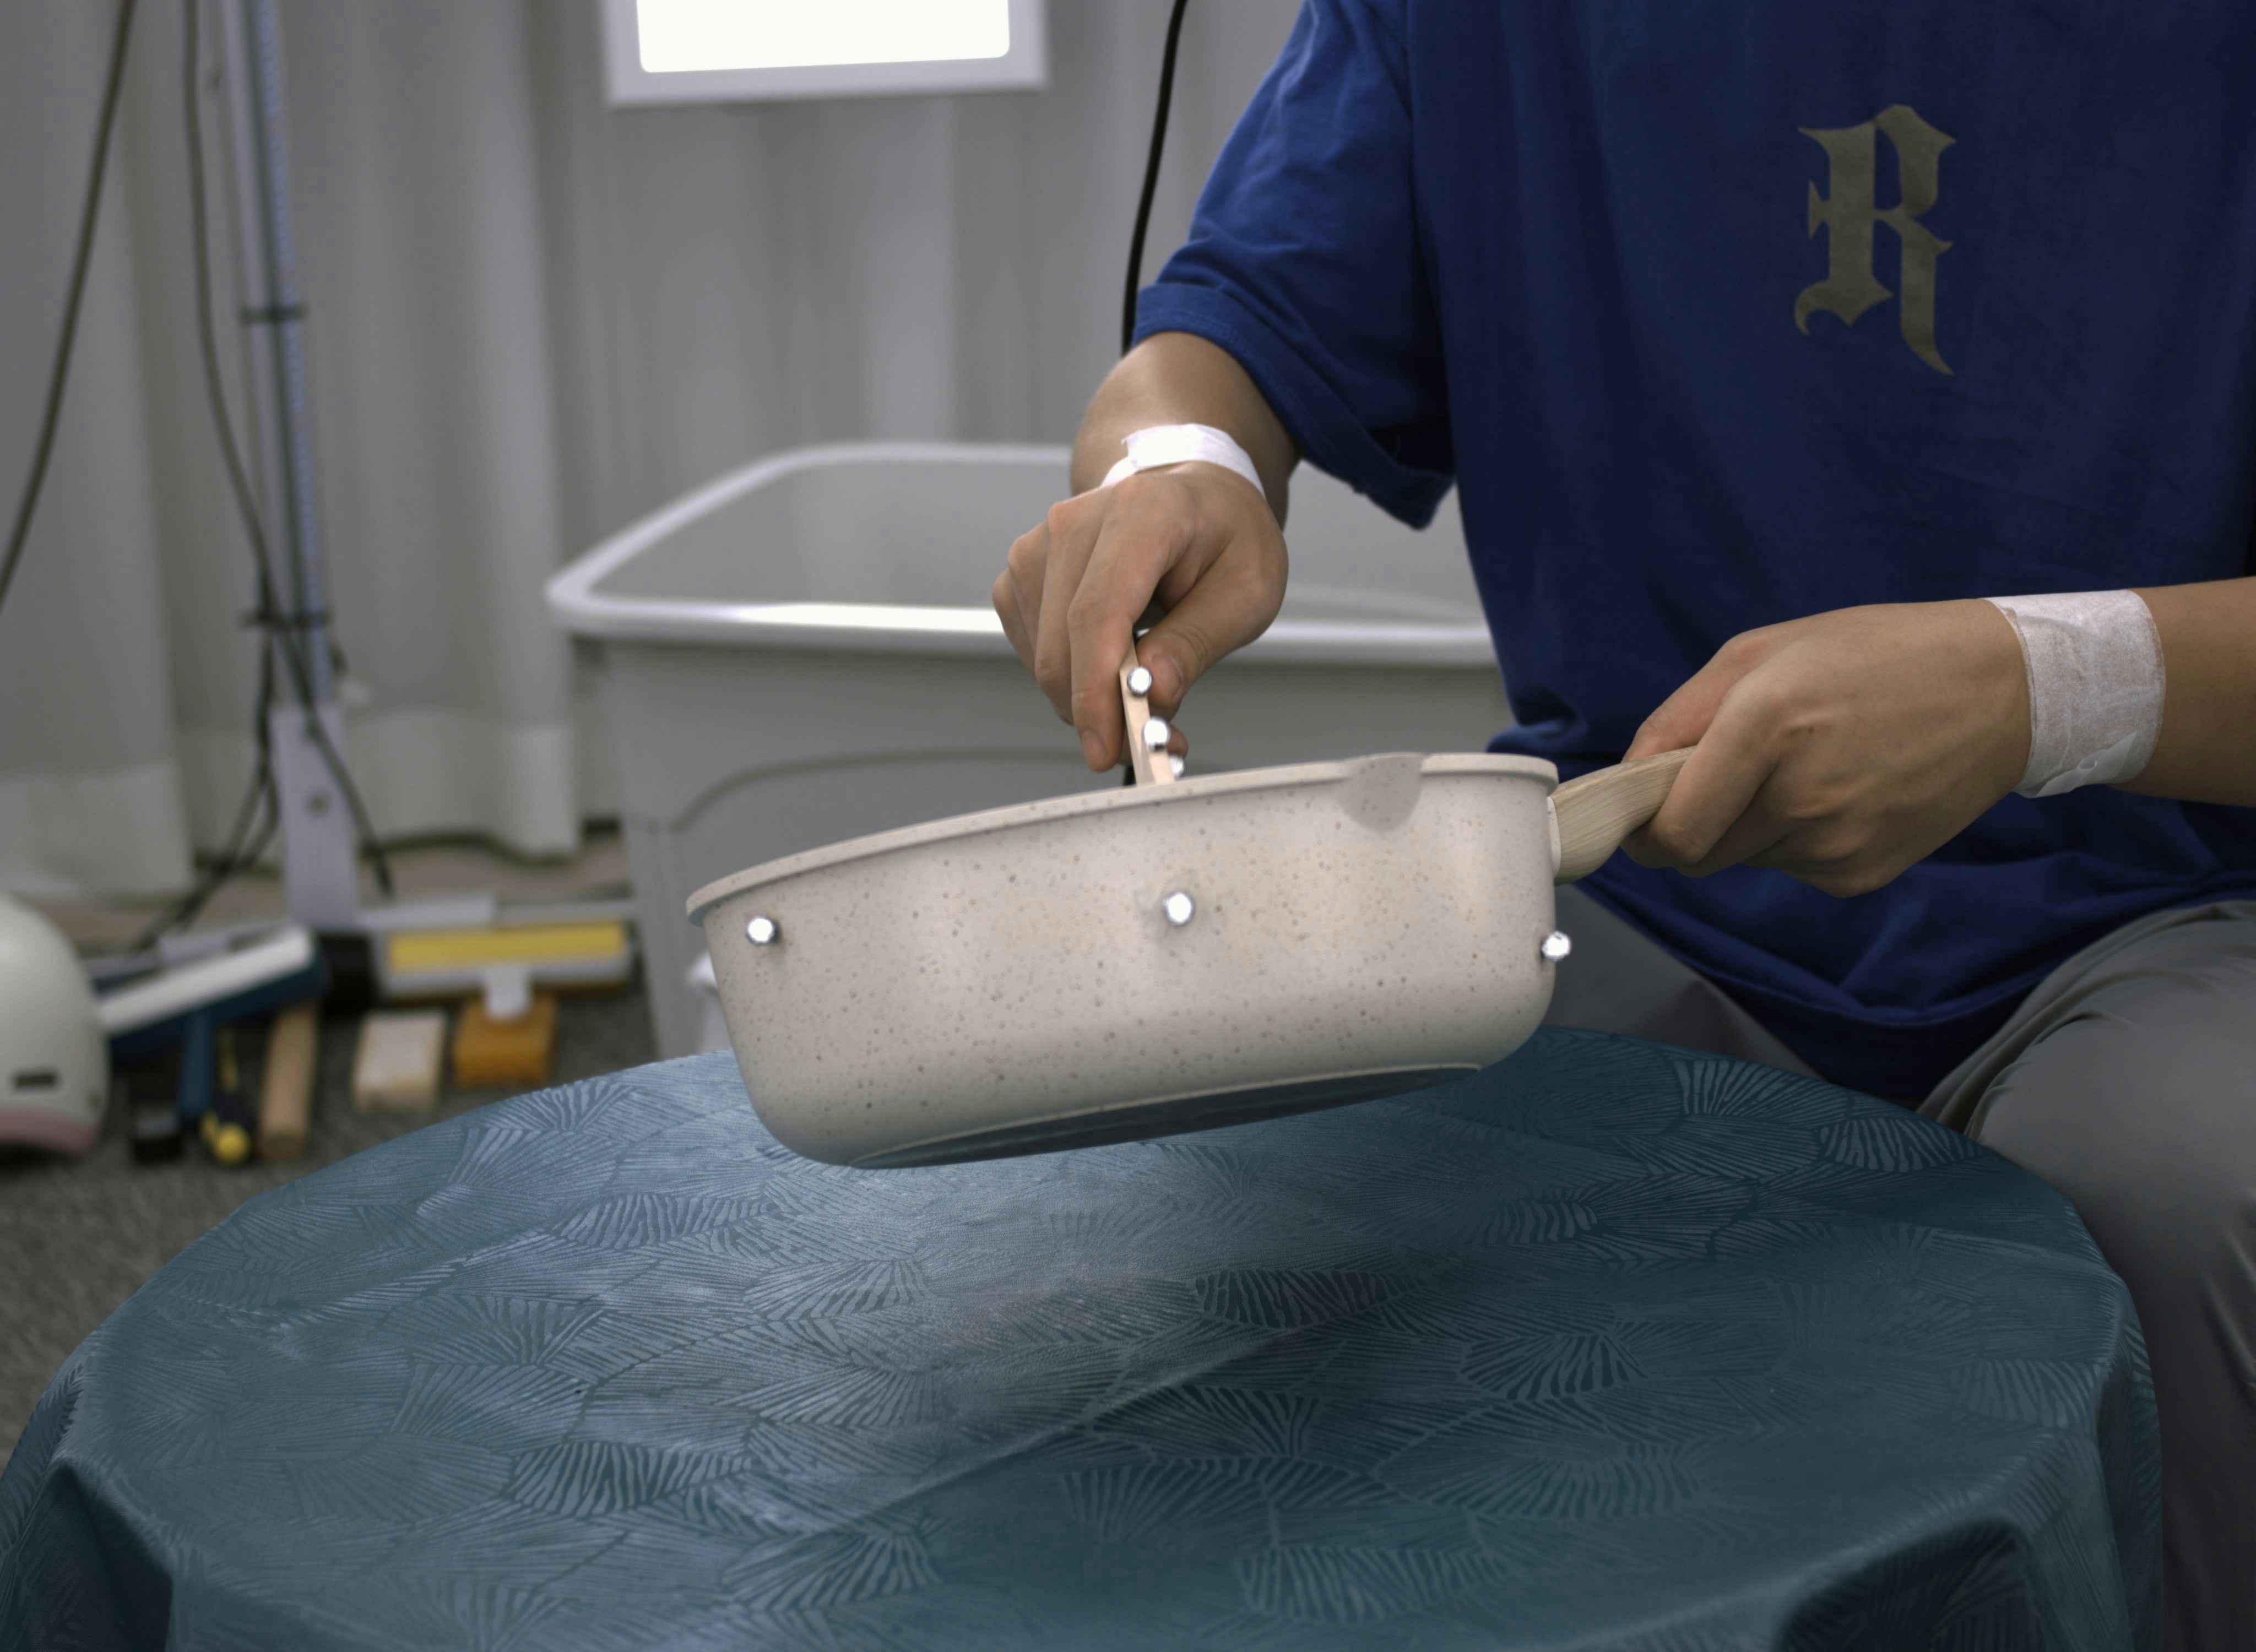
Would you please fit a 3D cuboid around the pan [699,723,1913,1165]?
[{"bbox_3d":[0.080,0.028,1.602,0.432,0.103,0.263,-3,-10,-37],"label":"pan"}]

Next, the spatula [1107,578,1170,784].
[{"bbox_3d":[0.006,-0.022,1.657,0.010,0.072,0.296,-9,20,-1],"label":"spatula"}]
